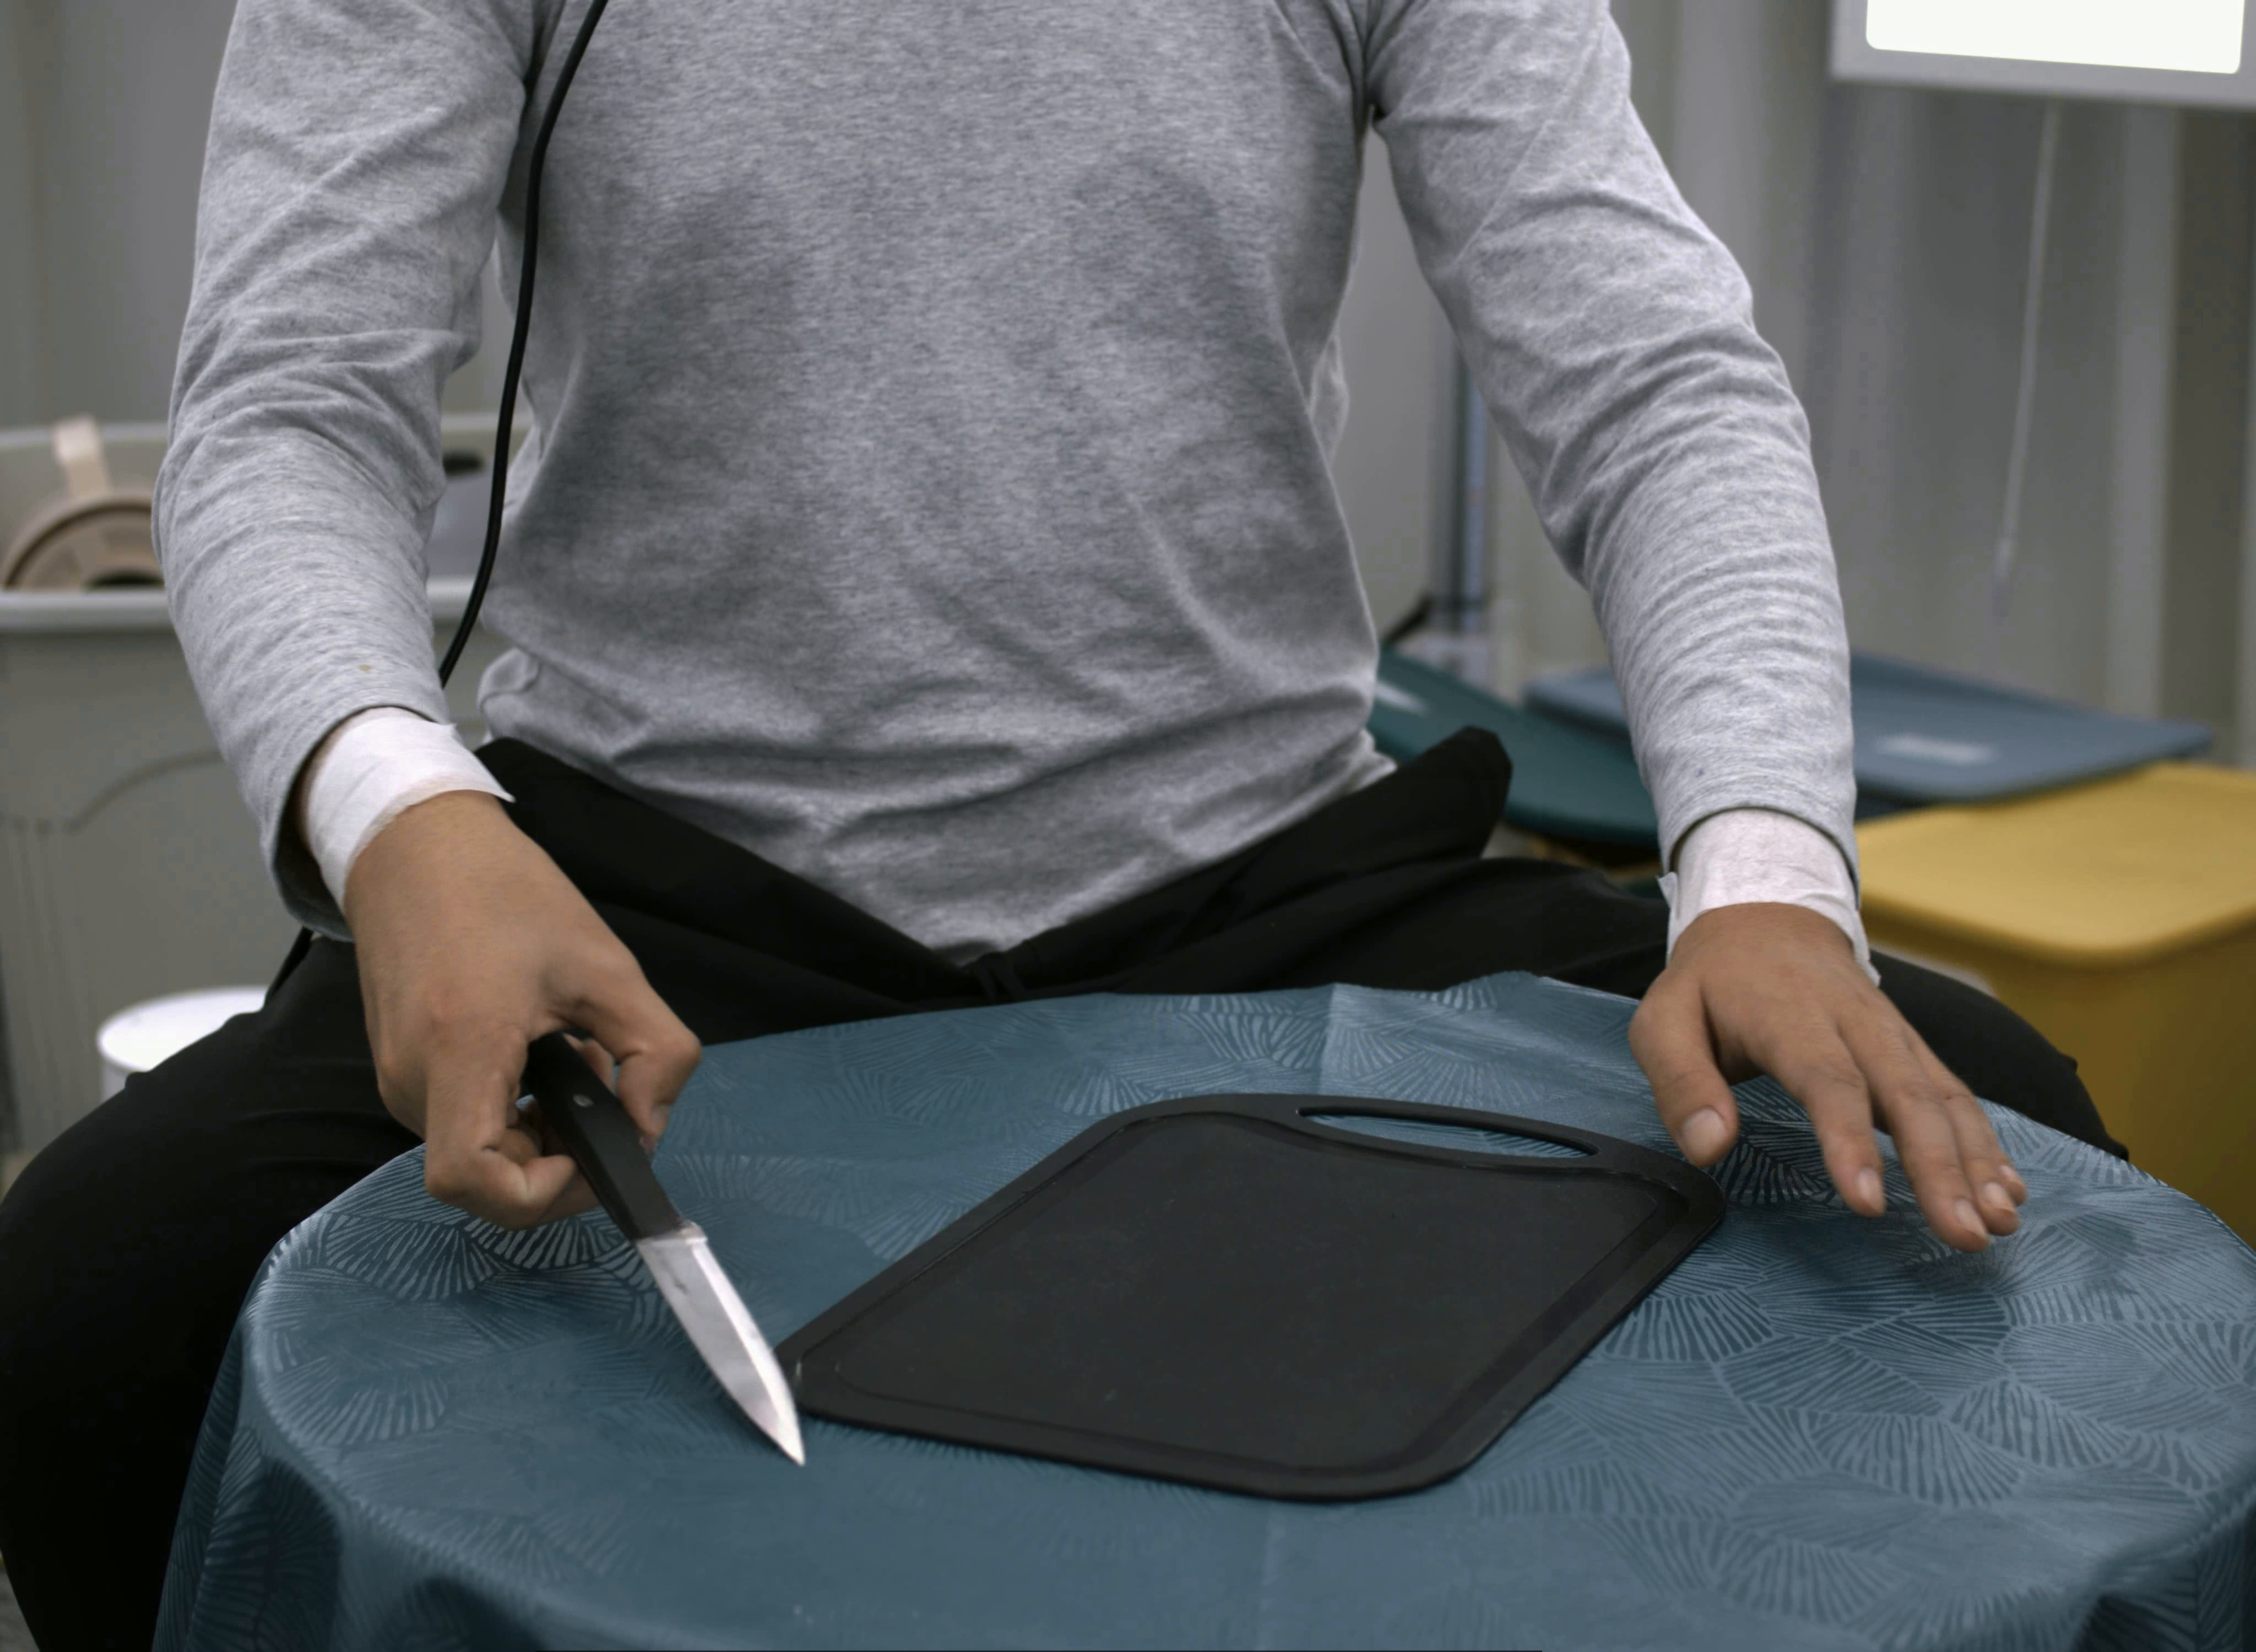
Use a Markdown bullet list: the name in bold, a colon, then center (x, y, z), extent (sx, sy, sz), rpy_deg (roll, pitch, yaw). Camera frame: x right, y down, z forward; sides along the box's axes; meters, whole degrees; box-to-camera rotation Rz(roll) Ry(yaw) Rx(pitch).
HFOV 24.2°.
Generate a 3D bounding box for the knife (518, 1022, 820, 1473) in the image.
- **knife**: center (-0.133, 0.118, 1.499), extent (0.024, 0.016, 0.235), rpy_deg (-6, 30, -24)

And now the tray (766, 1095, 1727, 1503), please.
- **tray**: center (0.044, 0.129, 1.554), extent (0.209, 0.010, 0.326), rpy_deg (8, 17, 23)
